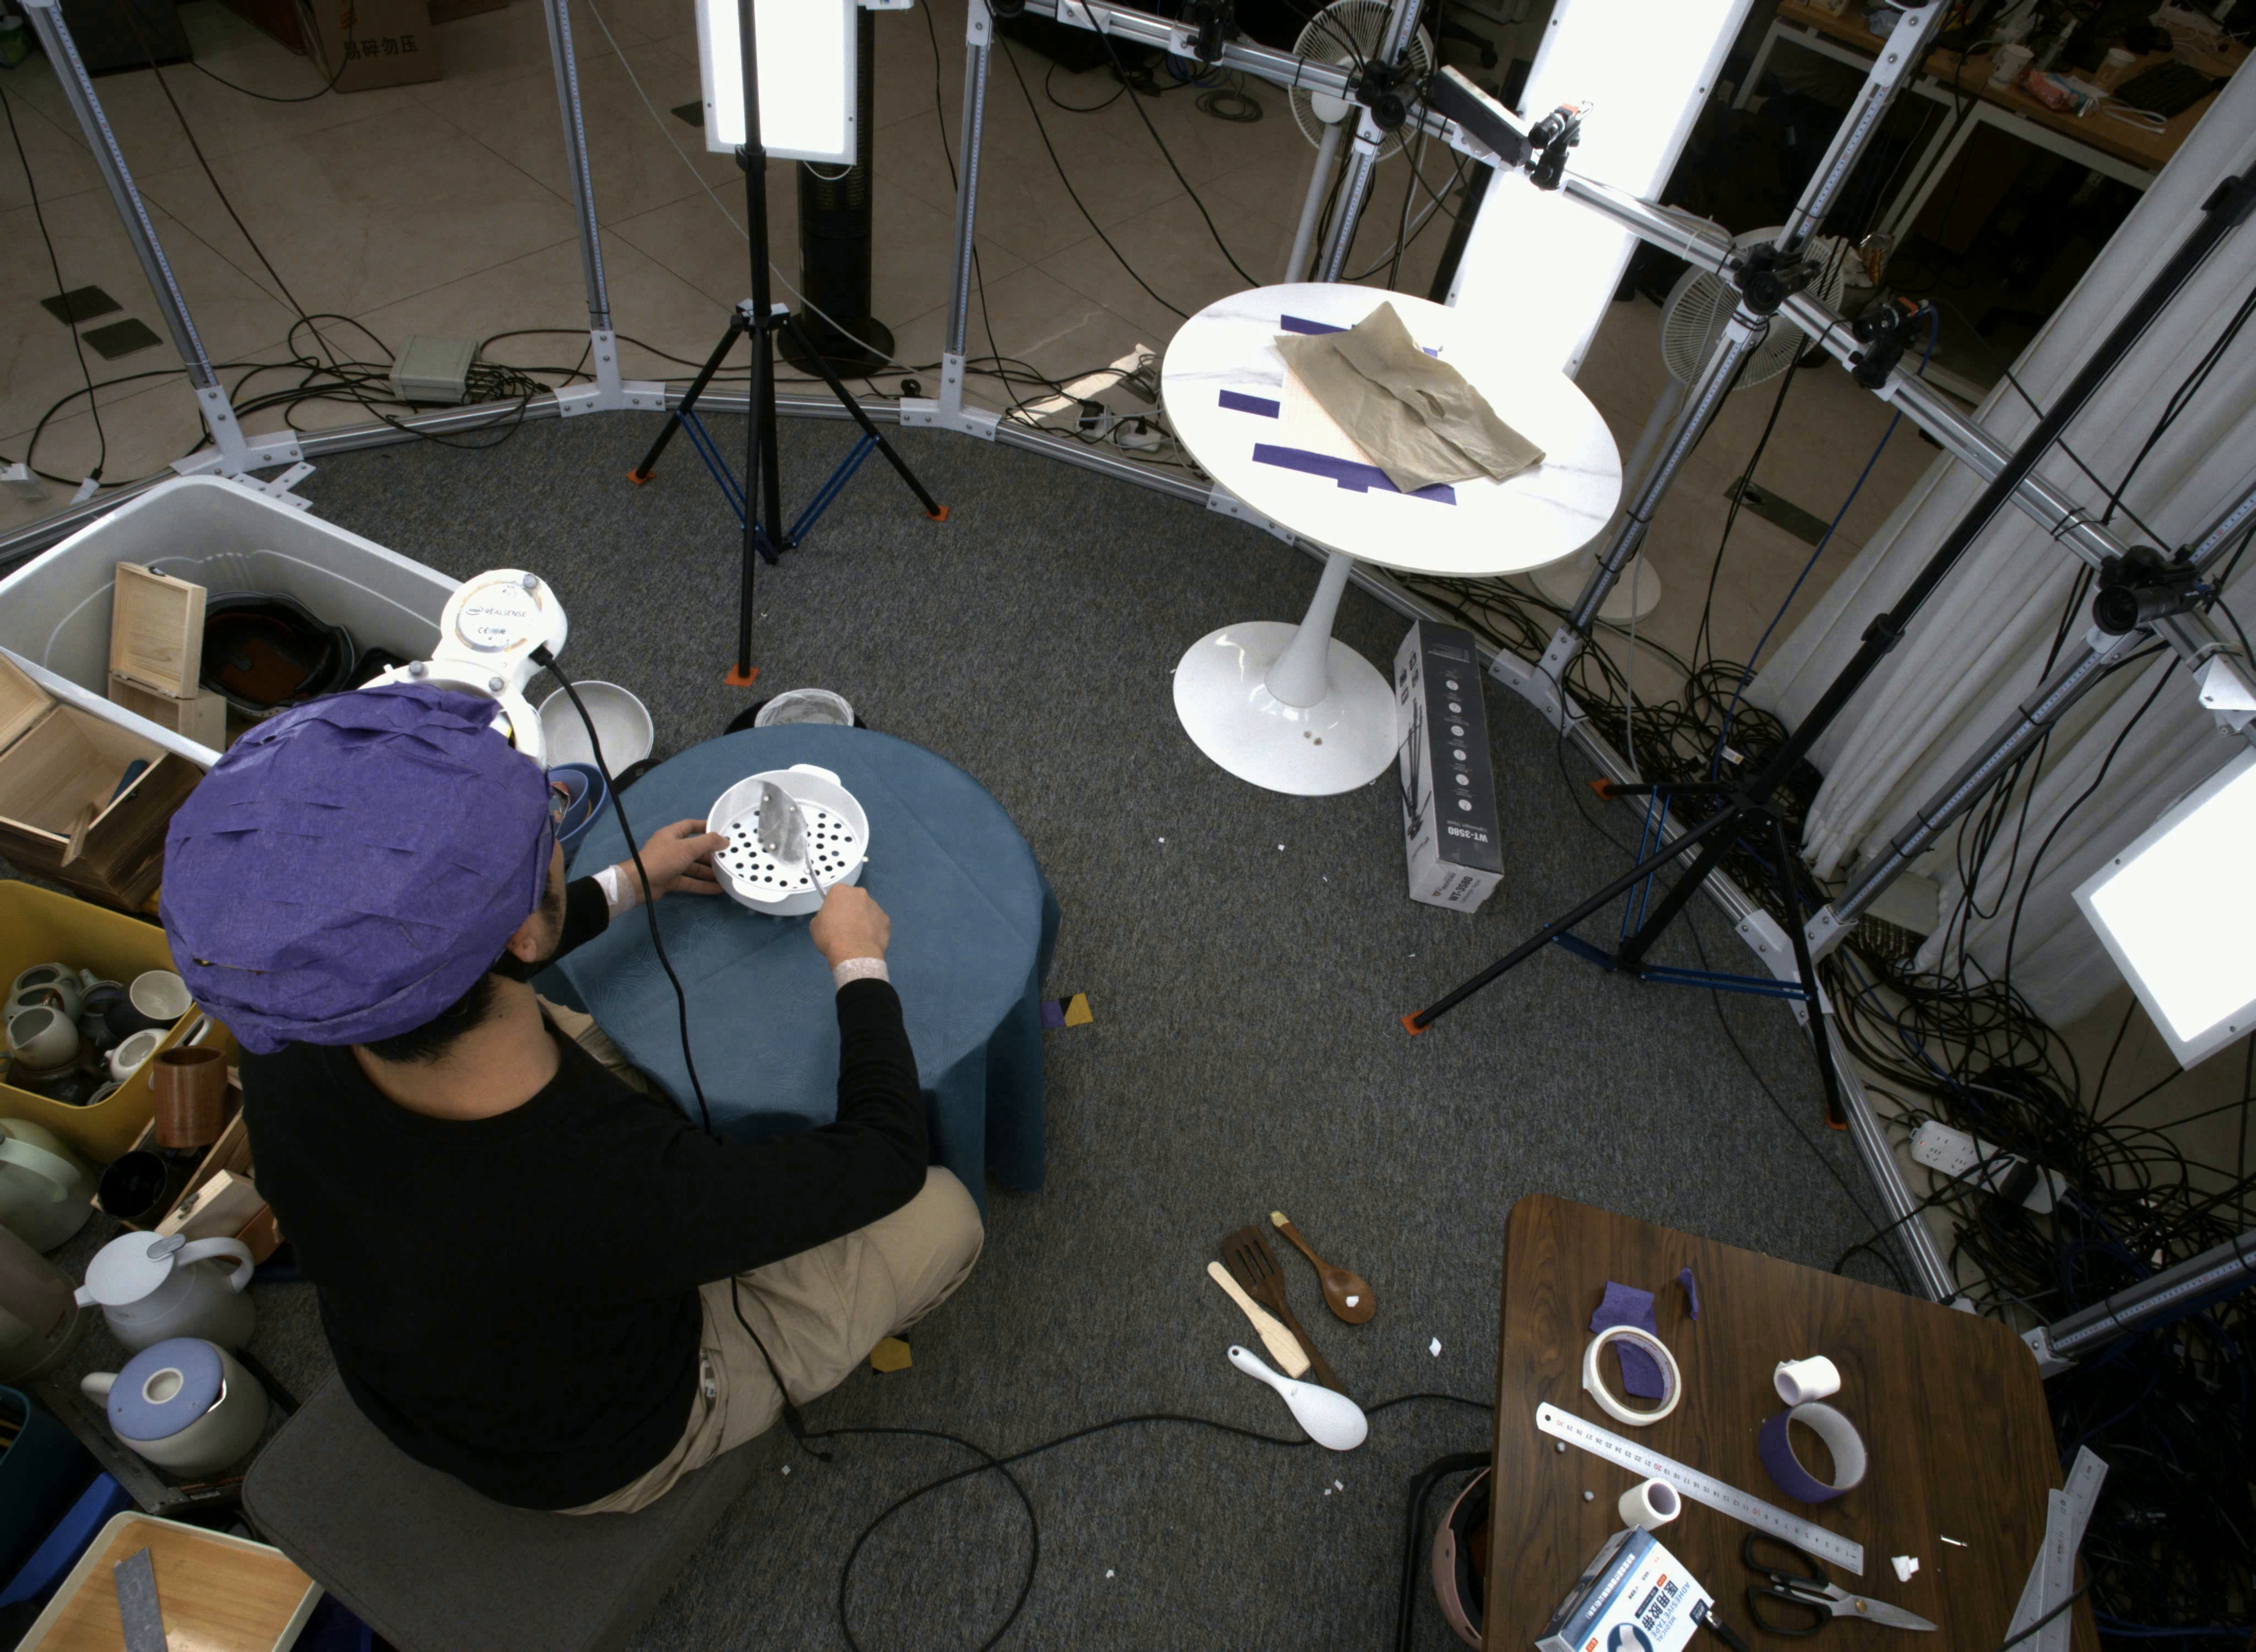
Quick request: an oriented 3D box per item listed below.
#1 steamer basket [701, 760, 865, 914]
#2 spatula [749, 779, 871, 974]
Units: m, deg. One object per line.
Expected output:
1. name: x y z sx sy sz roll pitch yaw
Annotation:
1. steamer basket: -0.439 0.018 1.653 0.200 0.070 0.227 16 49 -3
2. spatula: -0.383 0.063 1.543 0.045 0.101 0.351 -2 32 -32
